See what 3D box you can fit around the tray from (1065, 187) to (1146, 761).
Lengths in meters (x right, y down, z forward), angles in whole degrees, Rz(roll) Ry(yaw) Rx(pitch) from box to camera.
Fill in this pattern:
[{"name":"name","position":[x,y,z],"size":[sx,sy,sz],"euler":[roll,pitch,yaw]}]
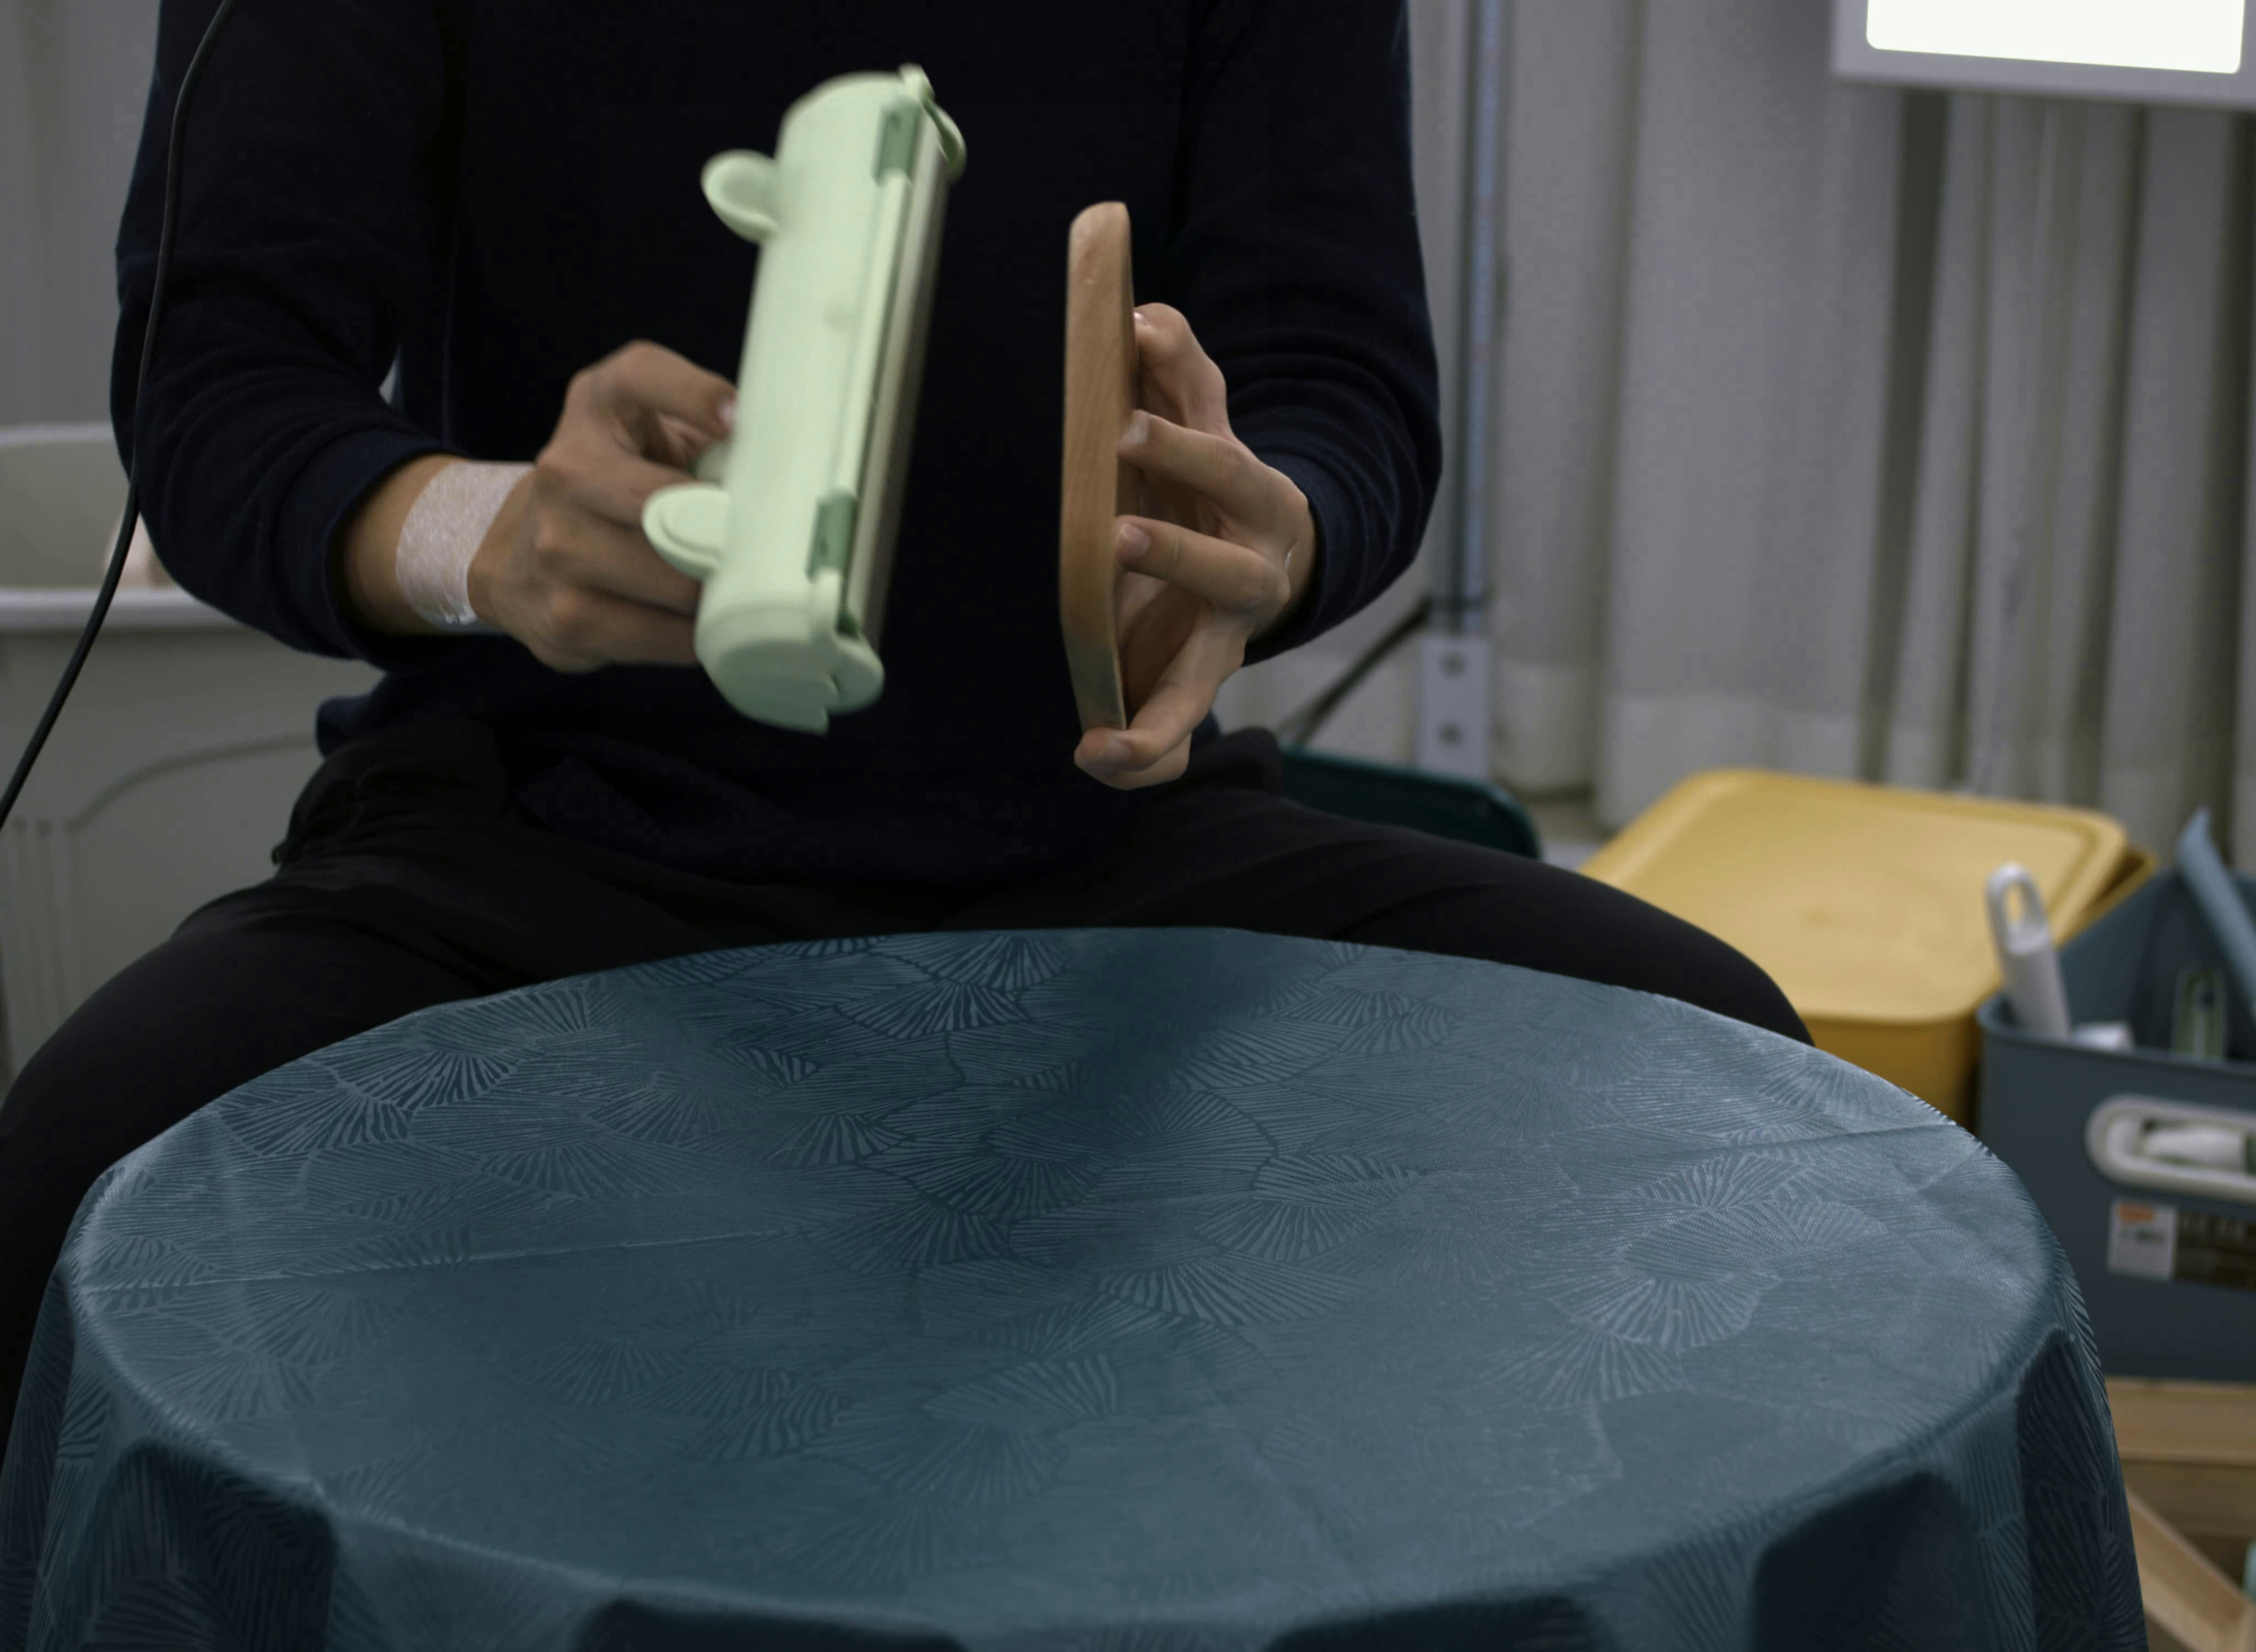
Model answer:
[{"name":"tray","position":[-0.006,-0.099,1.549],"size":[0.023,0.130,0.251],"euler":[4,-9,1]}]

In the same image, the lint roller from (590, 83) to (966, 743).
[{"name":"lint roller","position":[-0.125,-0.106,1.539],"size":[0.083,0.197,0.182],"euler":[28,-36,-32]}]
